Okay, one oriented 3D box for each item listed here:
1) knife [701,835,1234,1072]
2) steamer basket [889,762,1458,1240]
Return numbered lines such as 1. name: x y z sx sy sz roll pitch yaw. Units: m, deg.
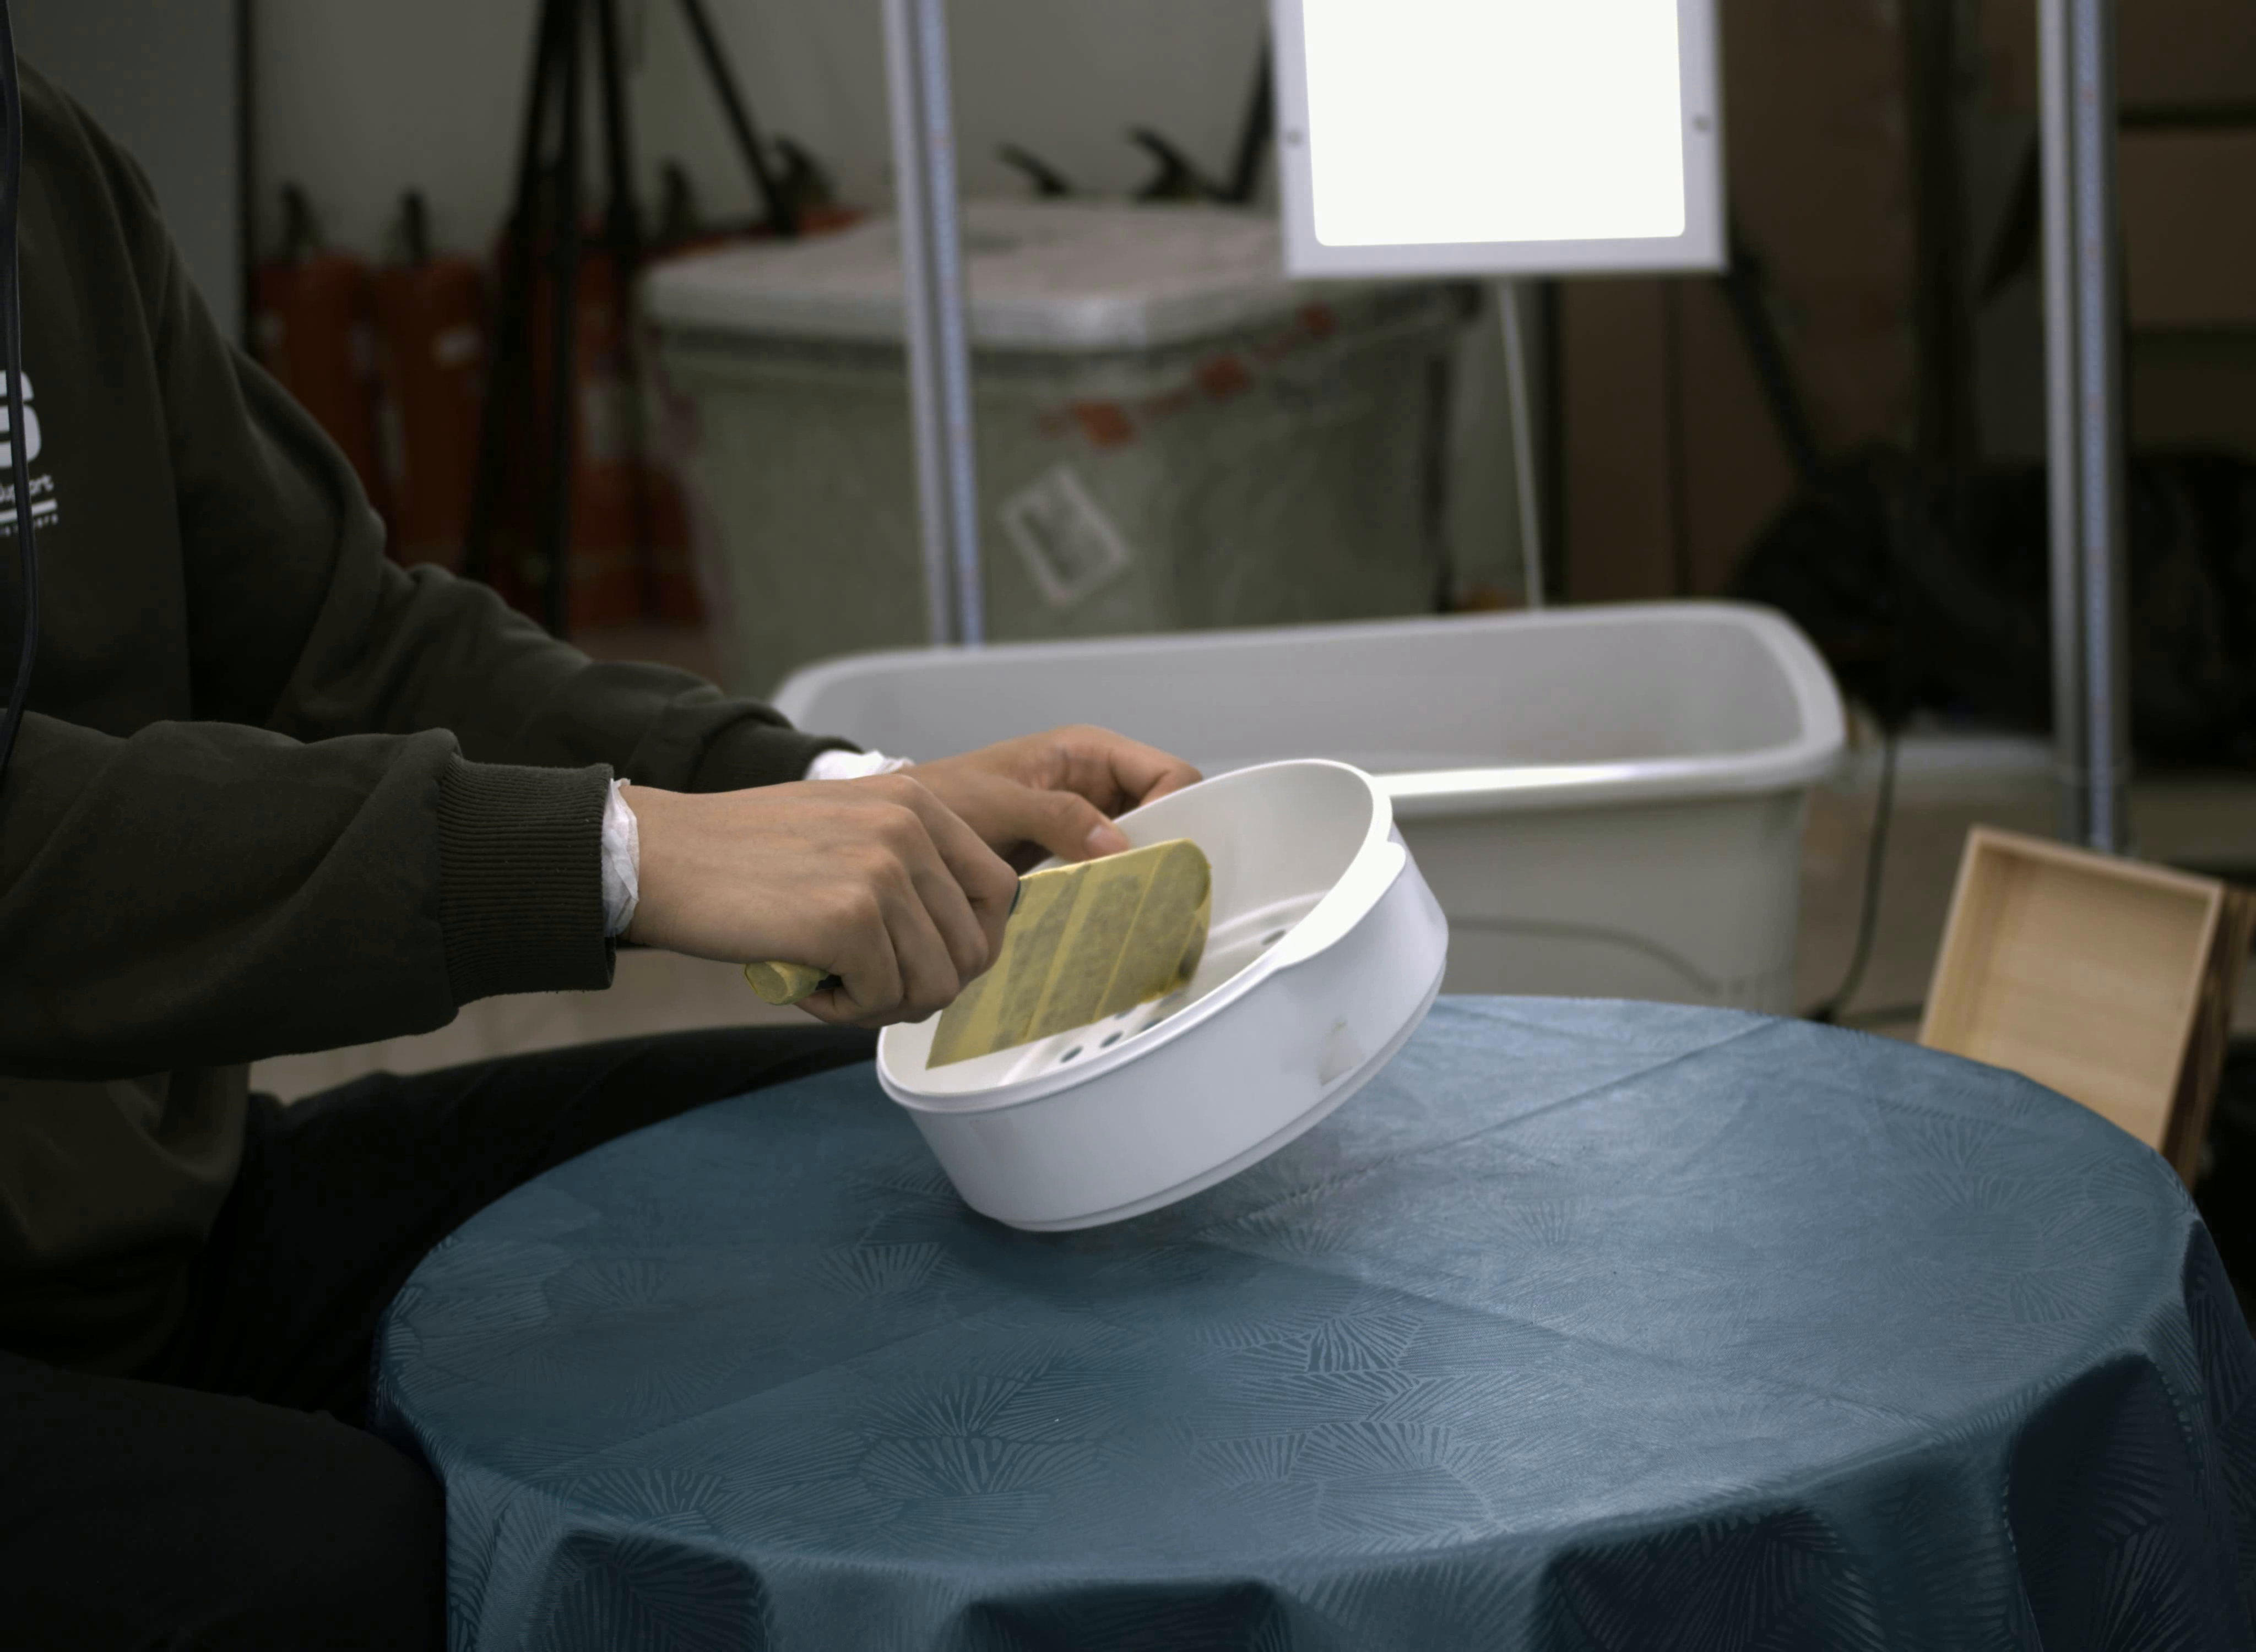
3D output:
1. knife: -0.048 0.044 1.855 0.028 0.081 0.282 24 16 34
2. steamer basket: 0.019 0.061 1.890 0.236 0.069 0.198 -11 27 47
